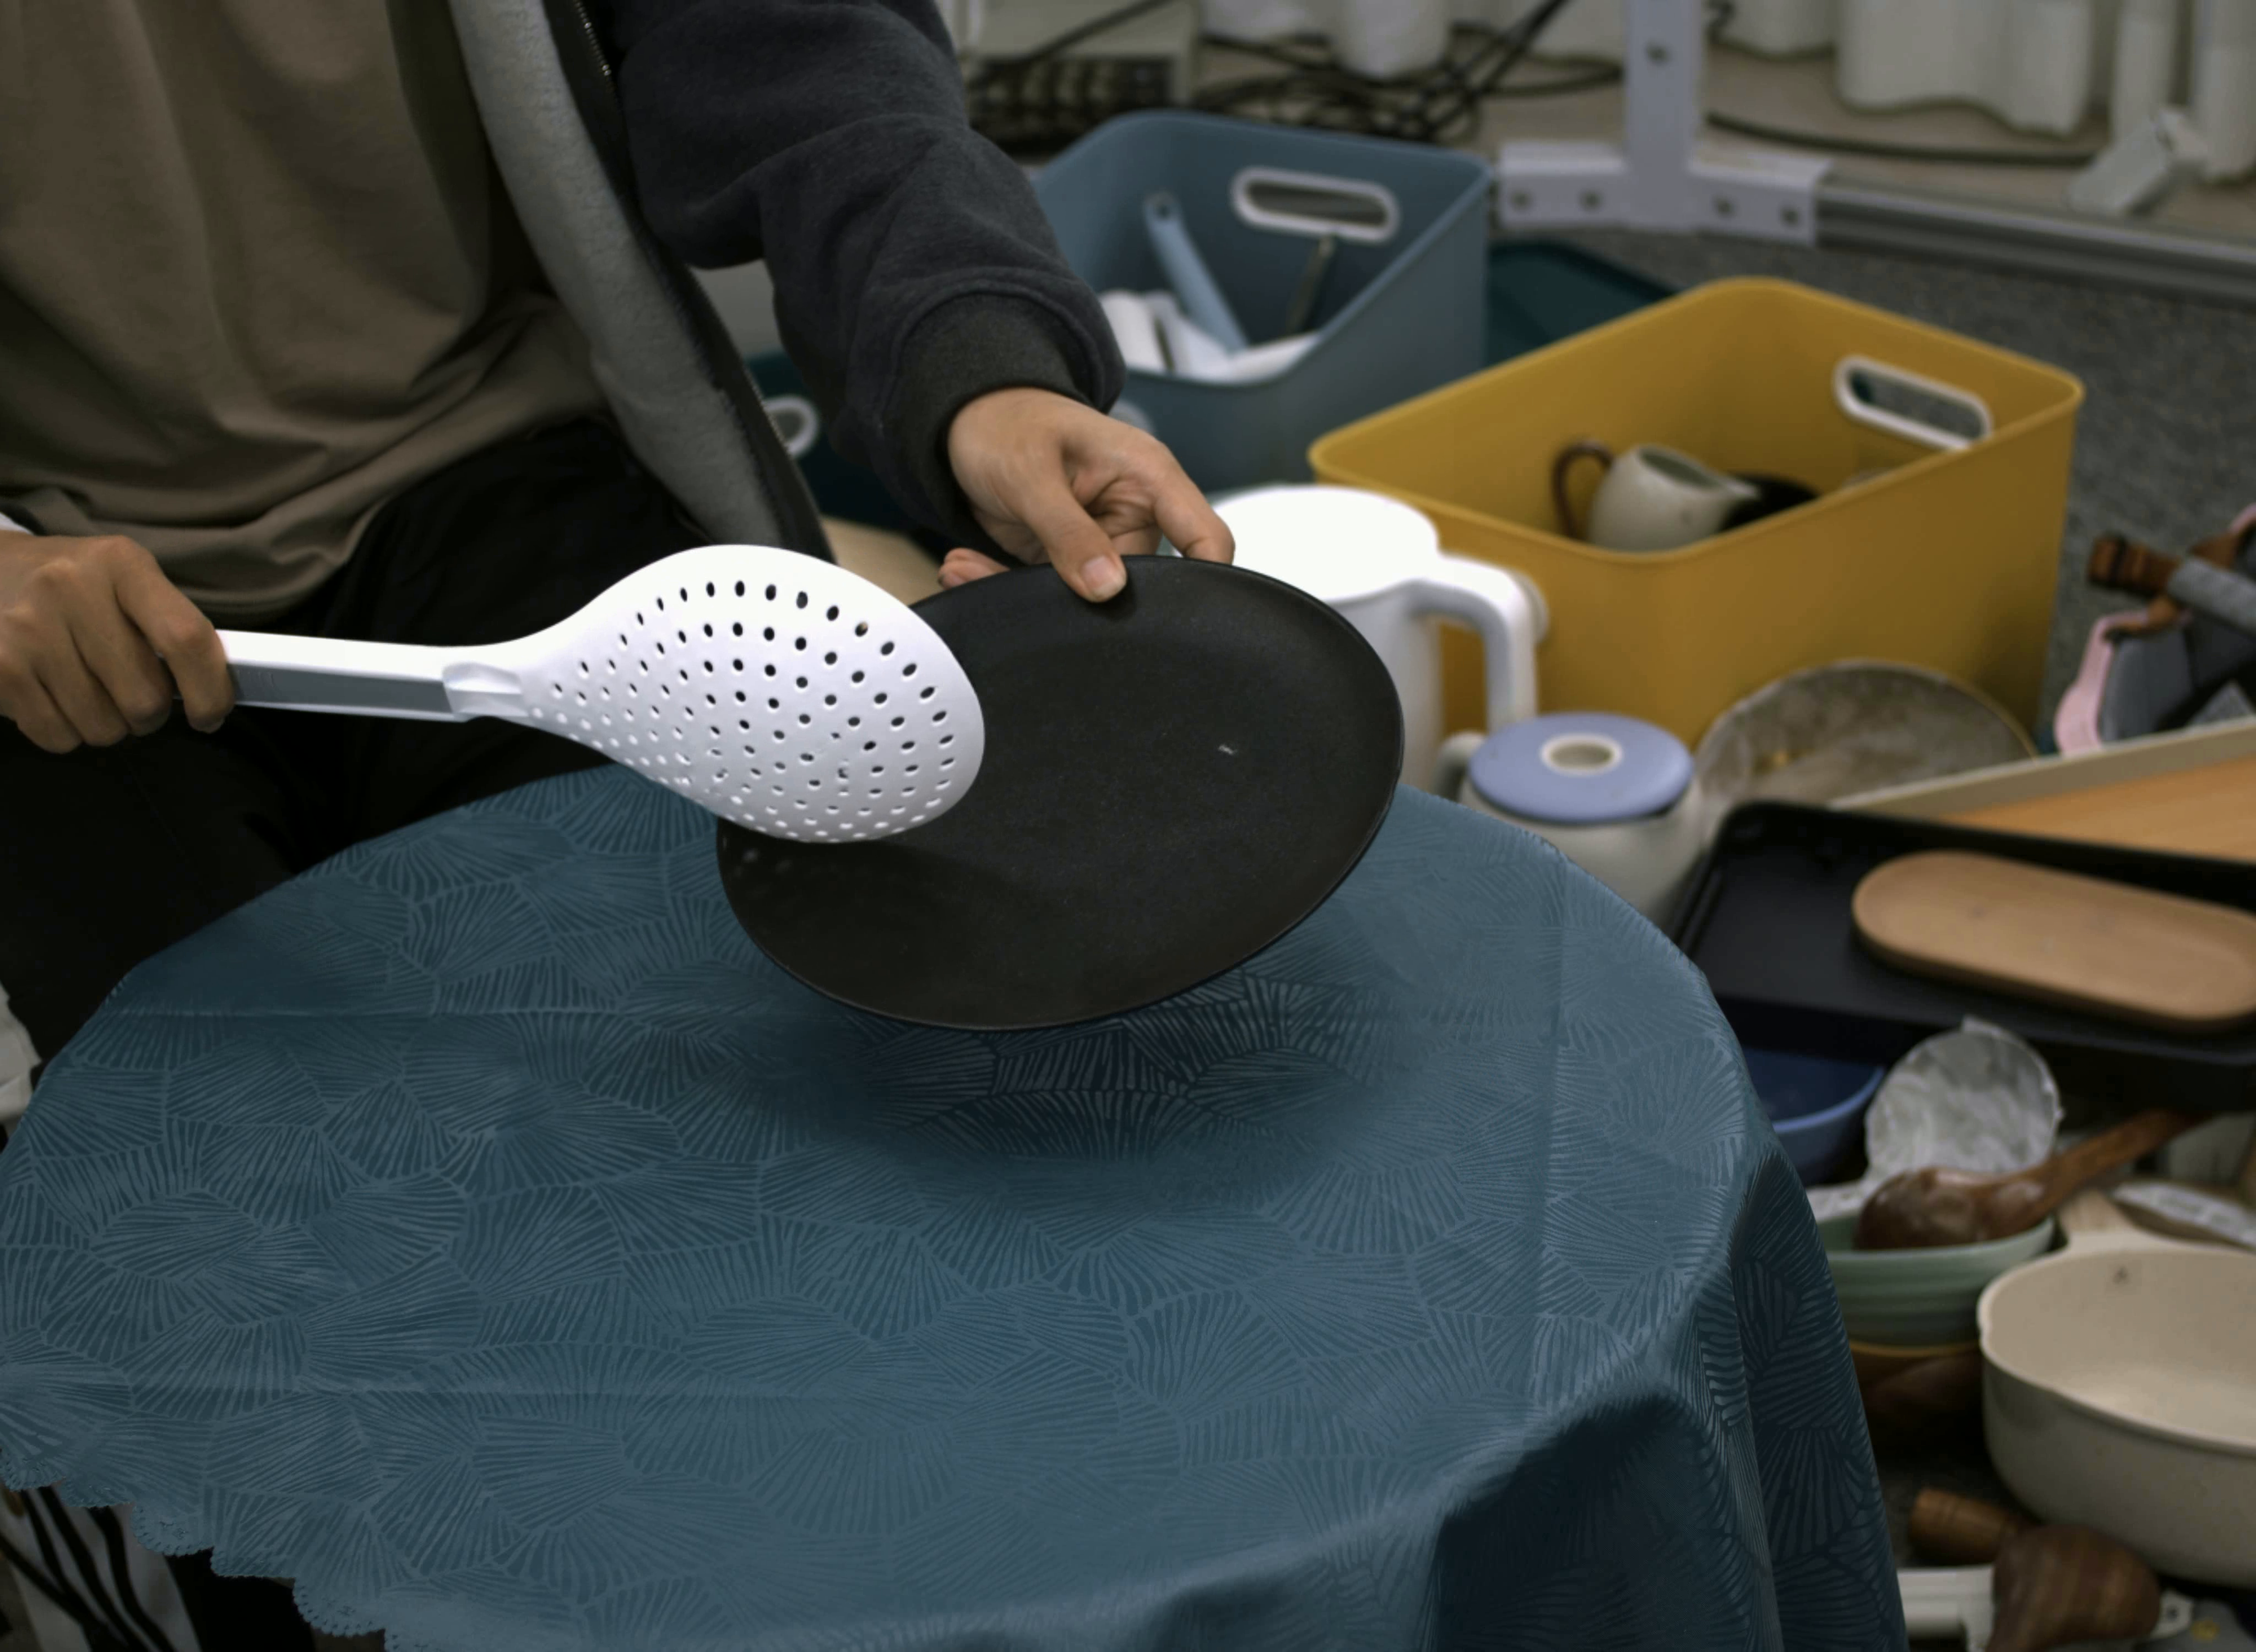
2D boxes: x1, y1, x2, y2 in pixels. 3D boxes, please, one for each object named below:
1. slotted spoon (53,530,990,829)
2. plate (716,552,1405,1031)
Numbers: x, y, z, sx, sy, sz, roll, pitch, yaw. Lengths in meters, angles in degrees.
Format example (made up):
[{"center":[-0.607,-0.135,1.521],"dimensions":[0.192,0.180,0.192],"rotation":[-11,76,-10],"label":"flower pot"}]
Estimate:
[{"center":[-0.215,-0.051,1.940],"dimensions":[0.347,0.134,0.046],"rotation":[7,48,22],"label":"slotted spoon"},{"center":[-0.023,-0.009,1.947],"dimensions":[0.243,0.023,0.249],"rotation":[-7,41,6],"label":"plate"}]
